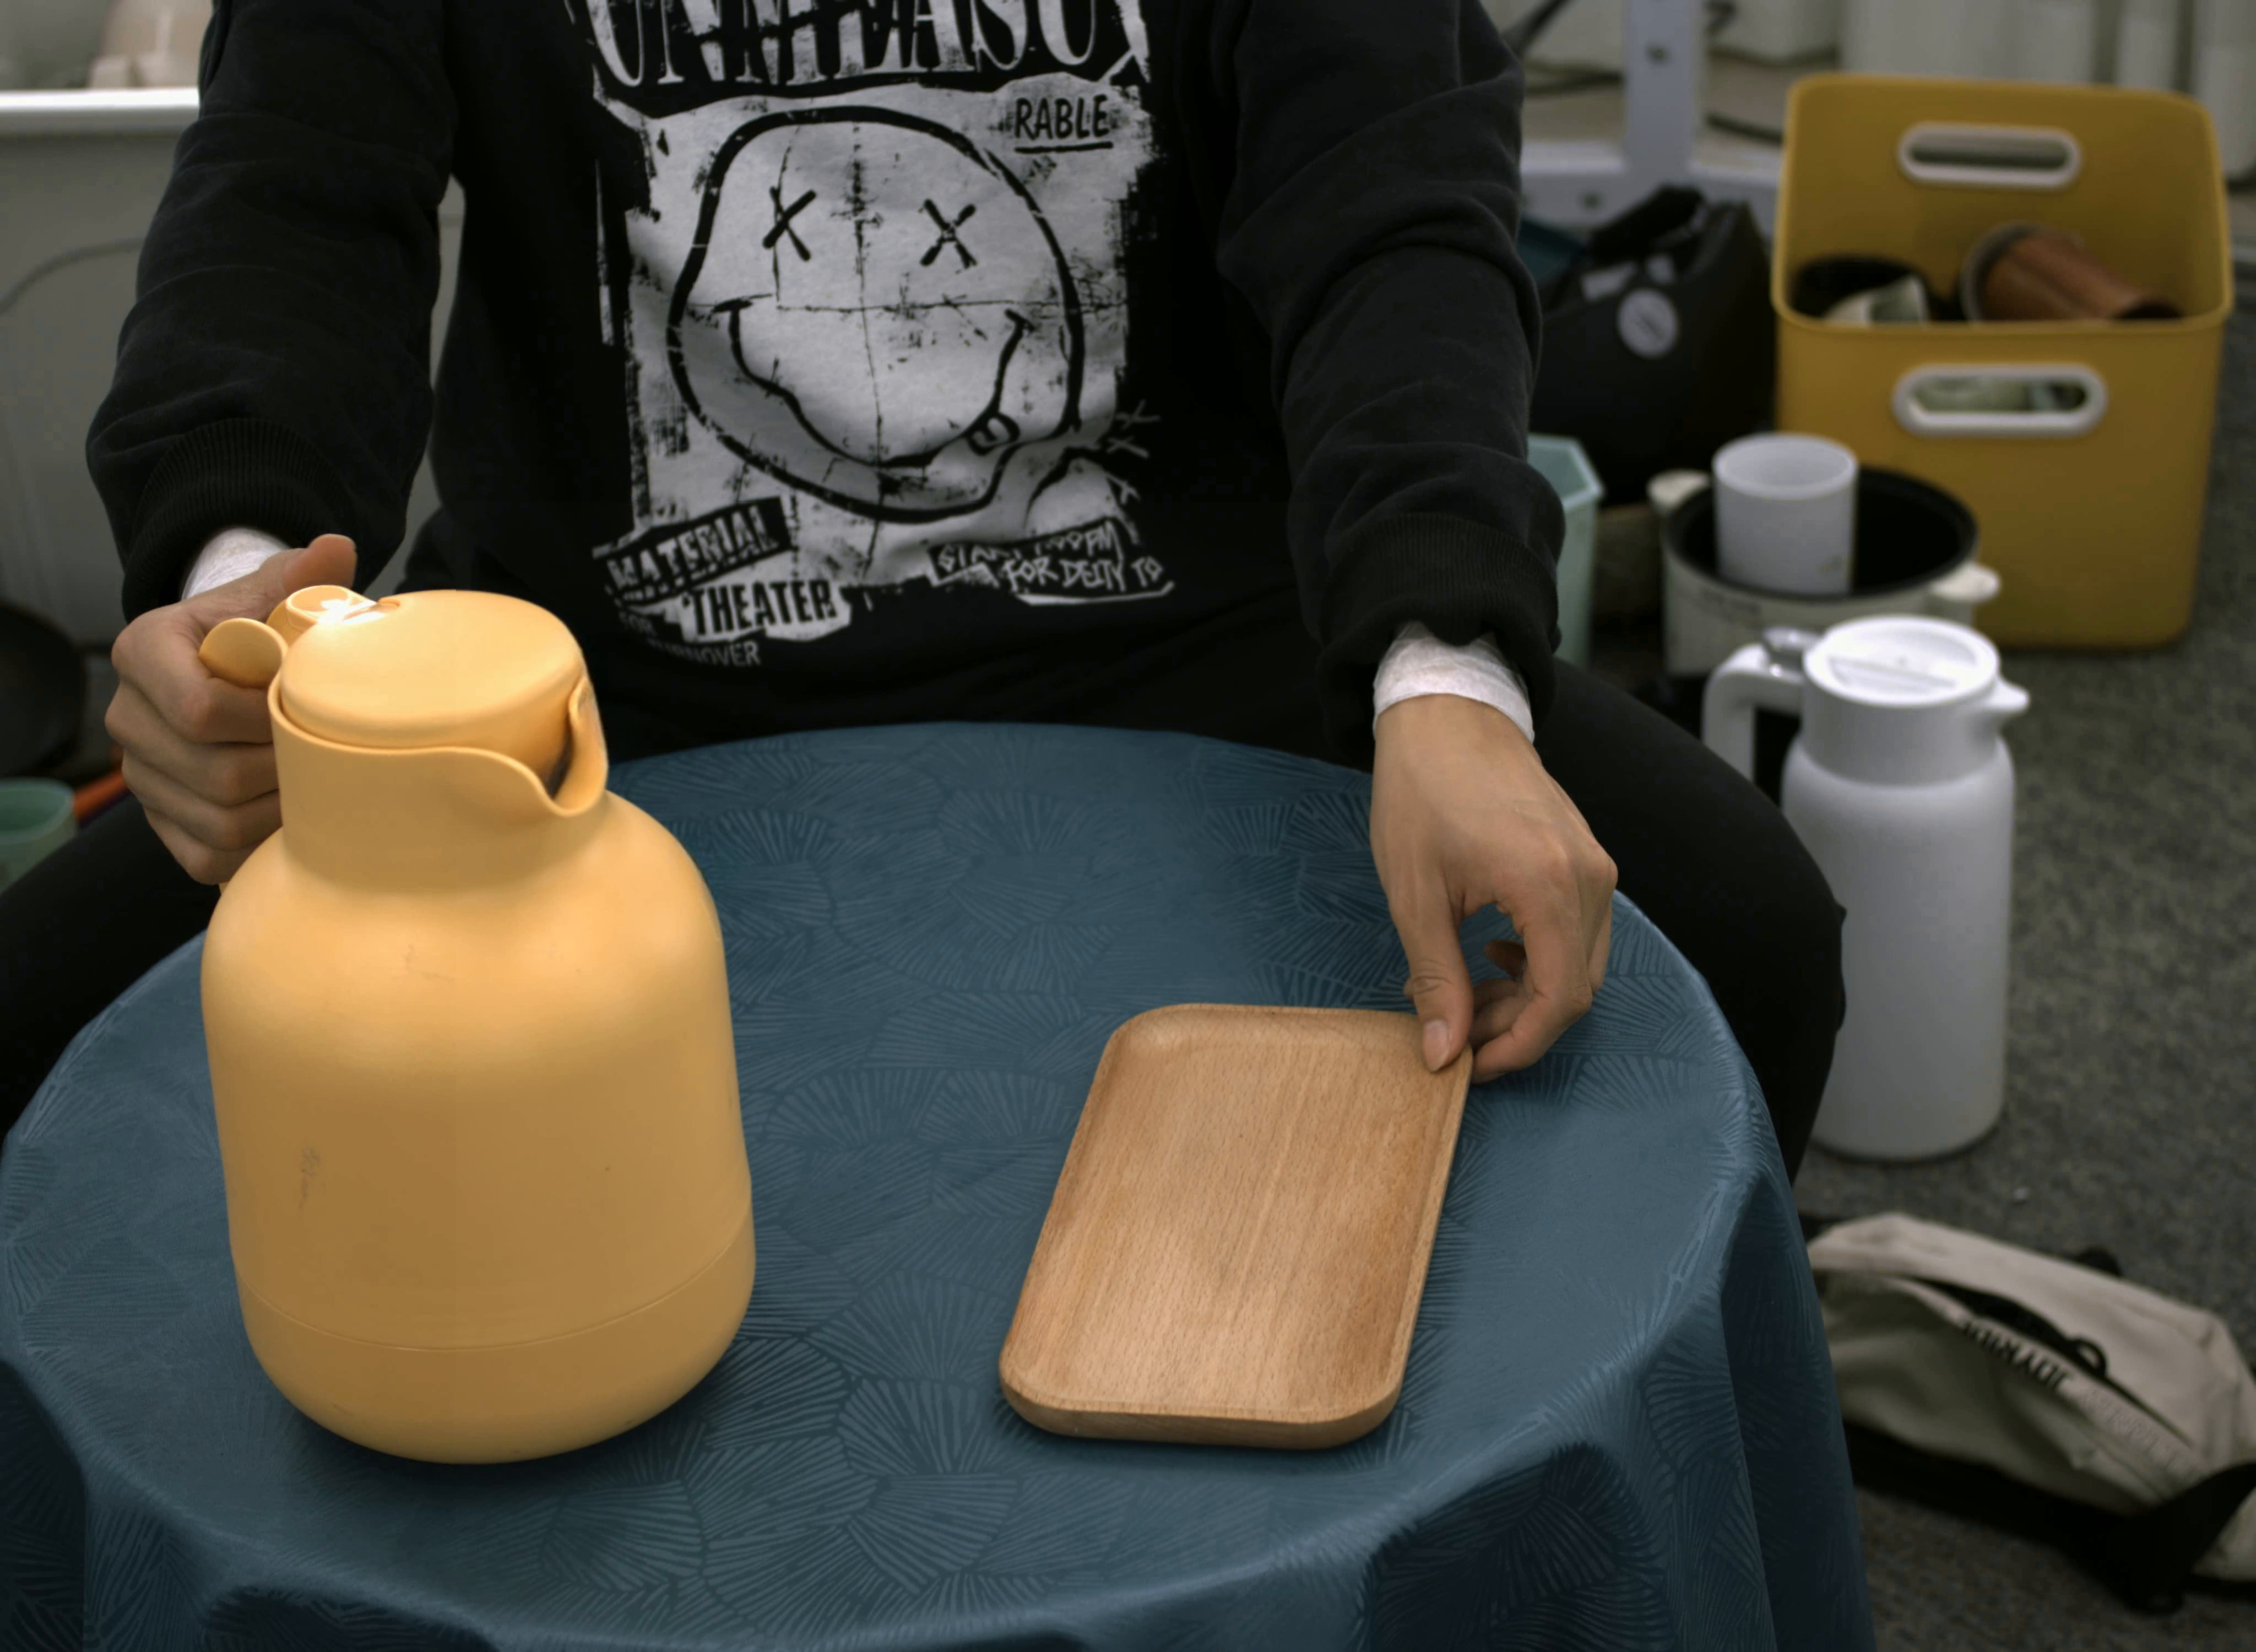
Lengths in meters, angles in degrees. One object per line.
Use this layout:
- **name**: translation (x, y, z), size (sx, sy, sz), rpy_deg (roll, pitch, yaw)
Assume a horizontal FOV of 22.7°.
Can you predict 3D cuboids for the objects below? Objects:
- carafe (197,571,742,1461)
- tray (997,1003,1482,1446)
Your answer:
- **carafe**: translation (-0.215, 0.048, 1.740), size (0.165, 0.257, 0.202), rpy_deg (-20, 33, -35)
- **tray**: translation (0.039, 0.127, 1.827), size (0.130, 0.022, 0.255), rpy_deg (5, 27, 10)
